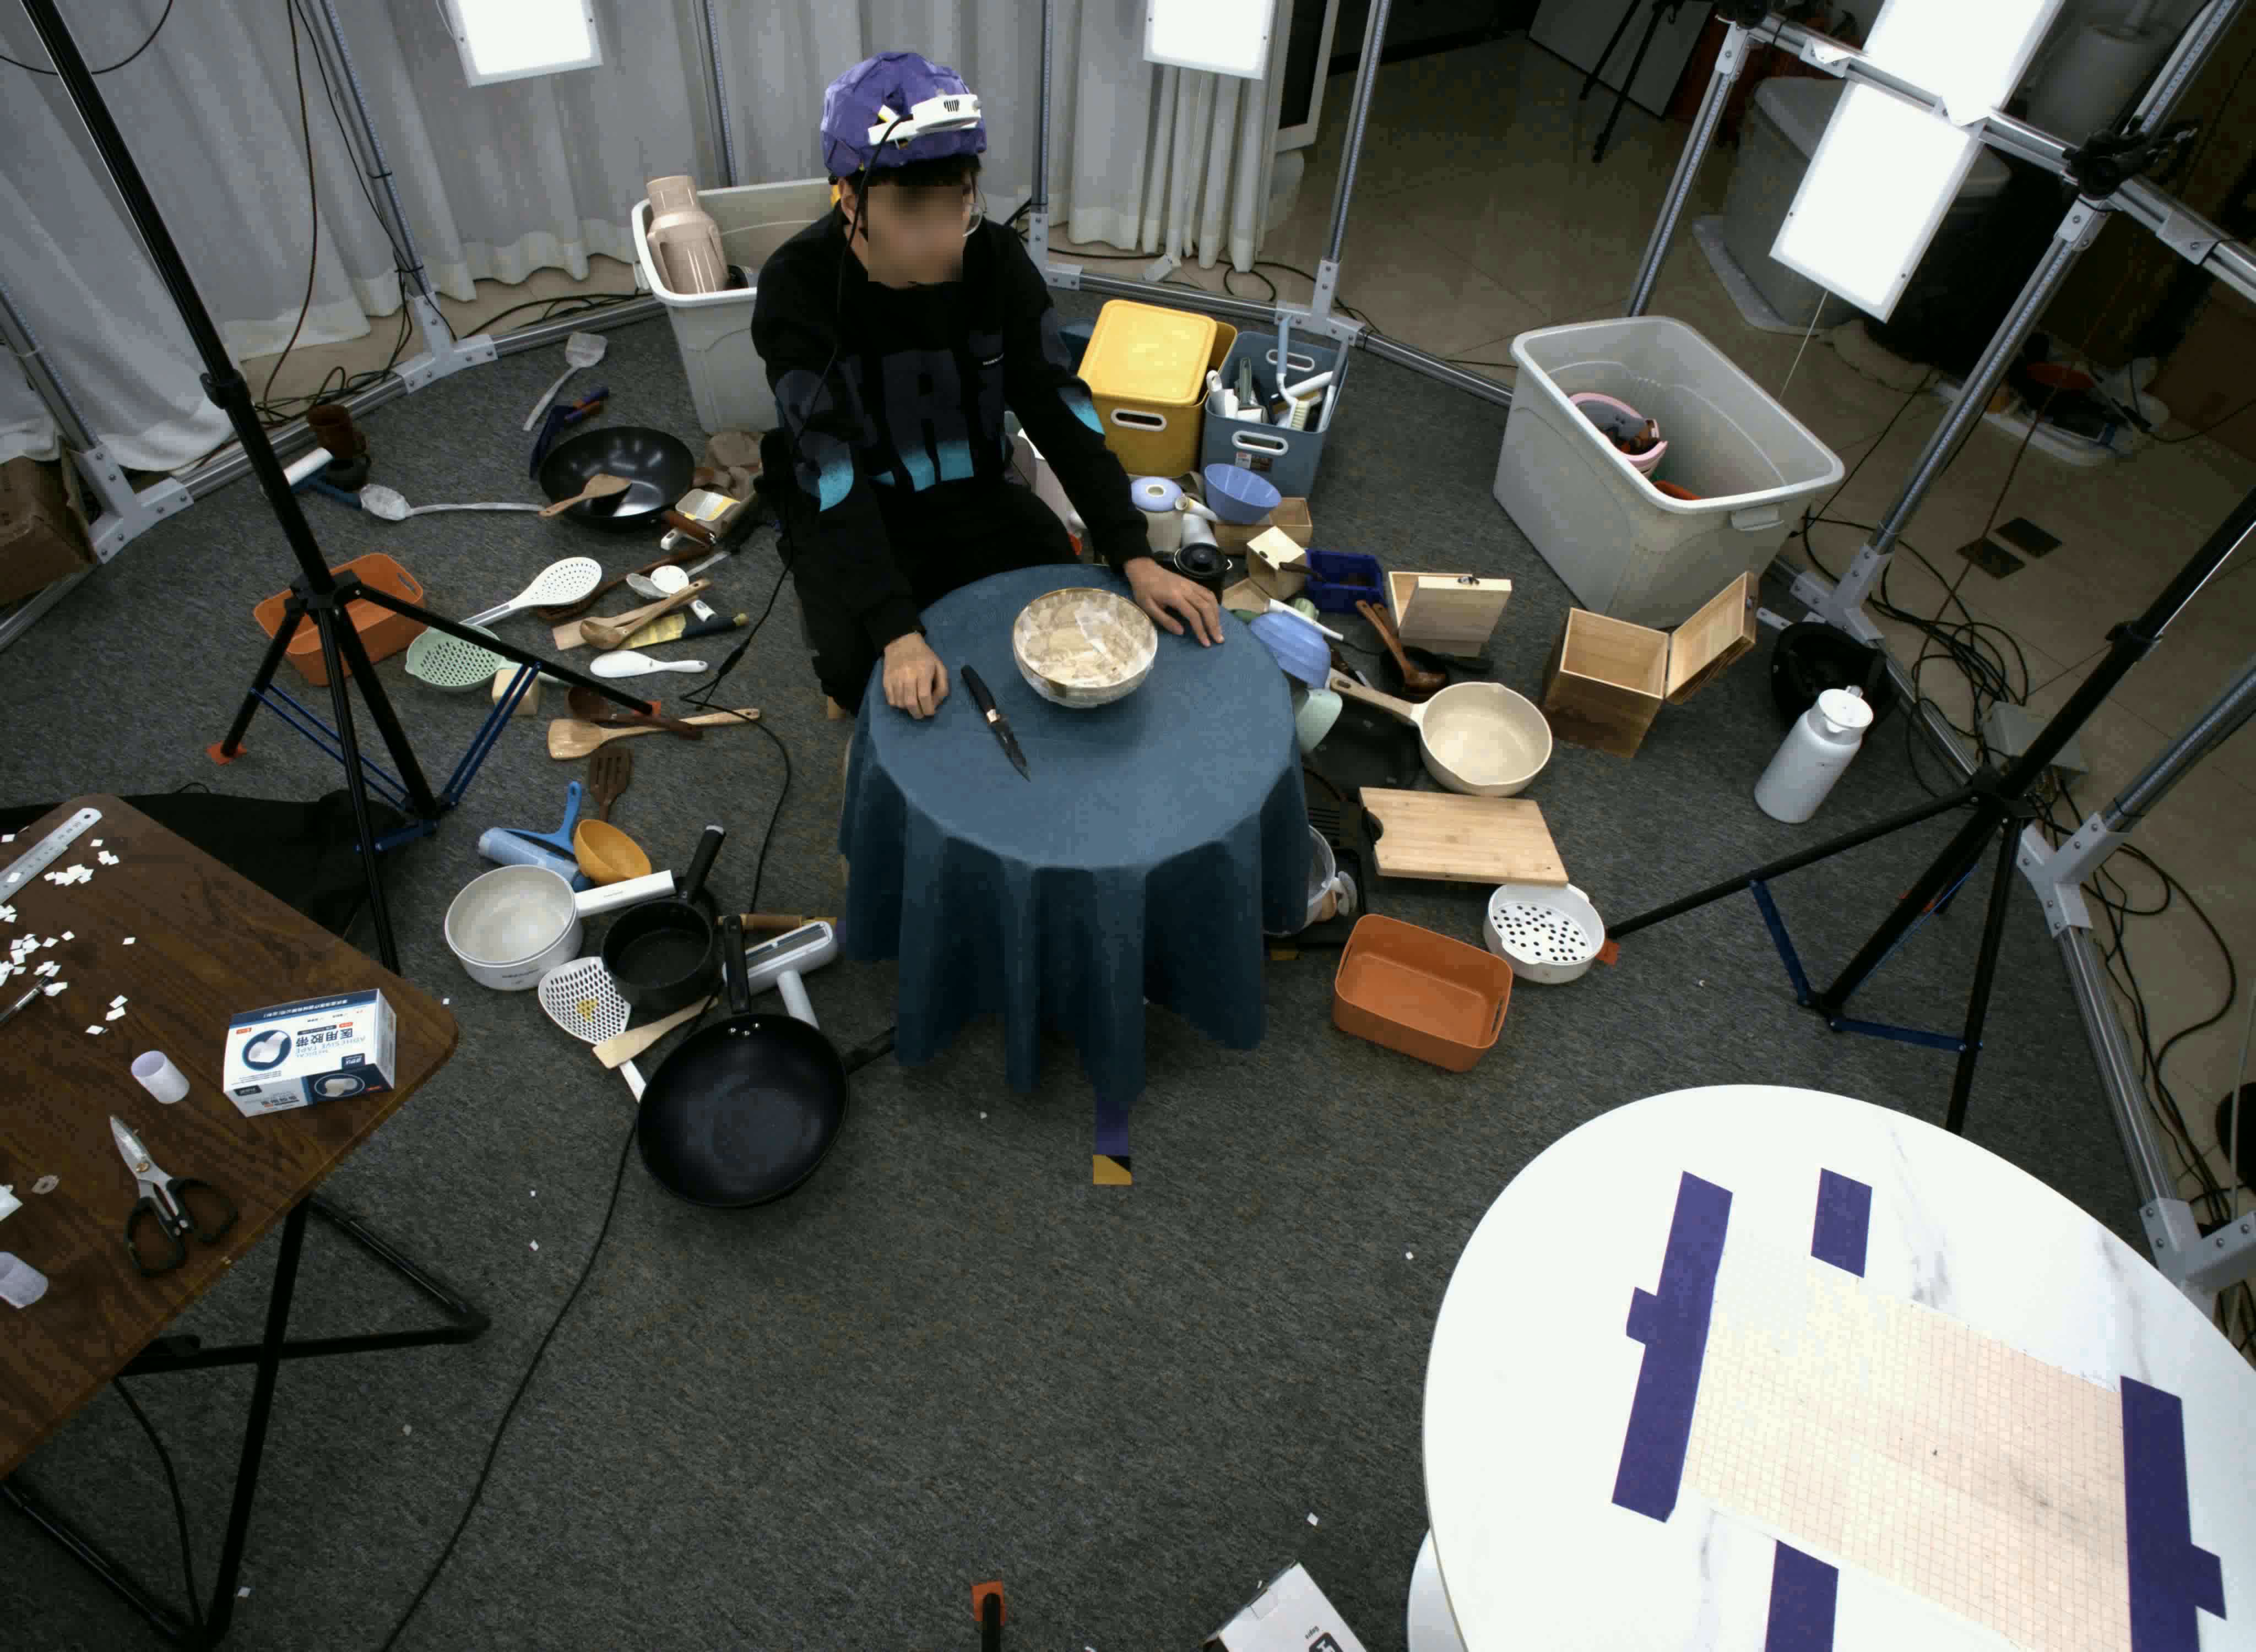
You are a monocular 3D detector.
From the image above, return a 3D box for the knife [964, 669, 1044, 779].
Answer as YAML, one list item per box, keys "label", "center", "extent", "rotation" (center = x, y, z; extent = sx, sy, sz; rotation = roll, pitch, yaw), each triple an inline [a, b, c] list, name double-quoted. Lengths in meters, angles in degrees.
- label: "knife"
  center: [-0.173, -0.142, 1.774]
  extent: [0.026, 0.017, 0.230]
  rotation: [-15, 53, -26]

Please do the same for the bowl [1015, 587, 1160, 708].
- label: "bowl"
  center: [-0.059, -0.239, 1.811]
  extent: [0.214, 0.092, 0.220]
  rotation: [1, 50, -1]
